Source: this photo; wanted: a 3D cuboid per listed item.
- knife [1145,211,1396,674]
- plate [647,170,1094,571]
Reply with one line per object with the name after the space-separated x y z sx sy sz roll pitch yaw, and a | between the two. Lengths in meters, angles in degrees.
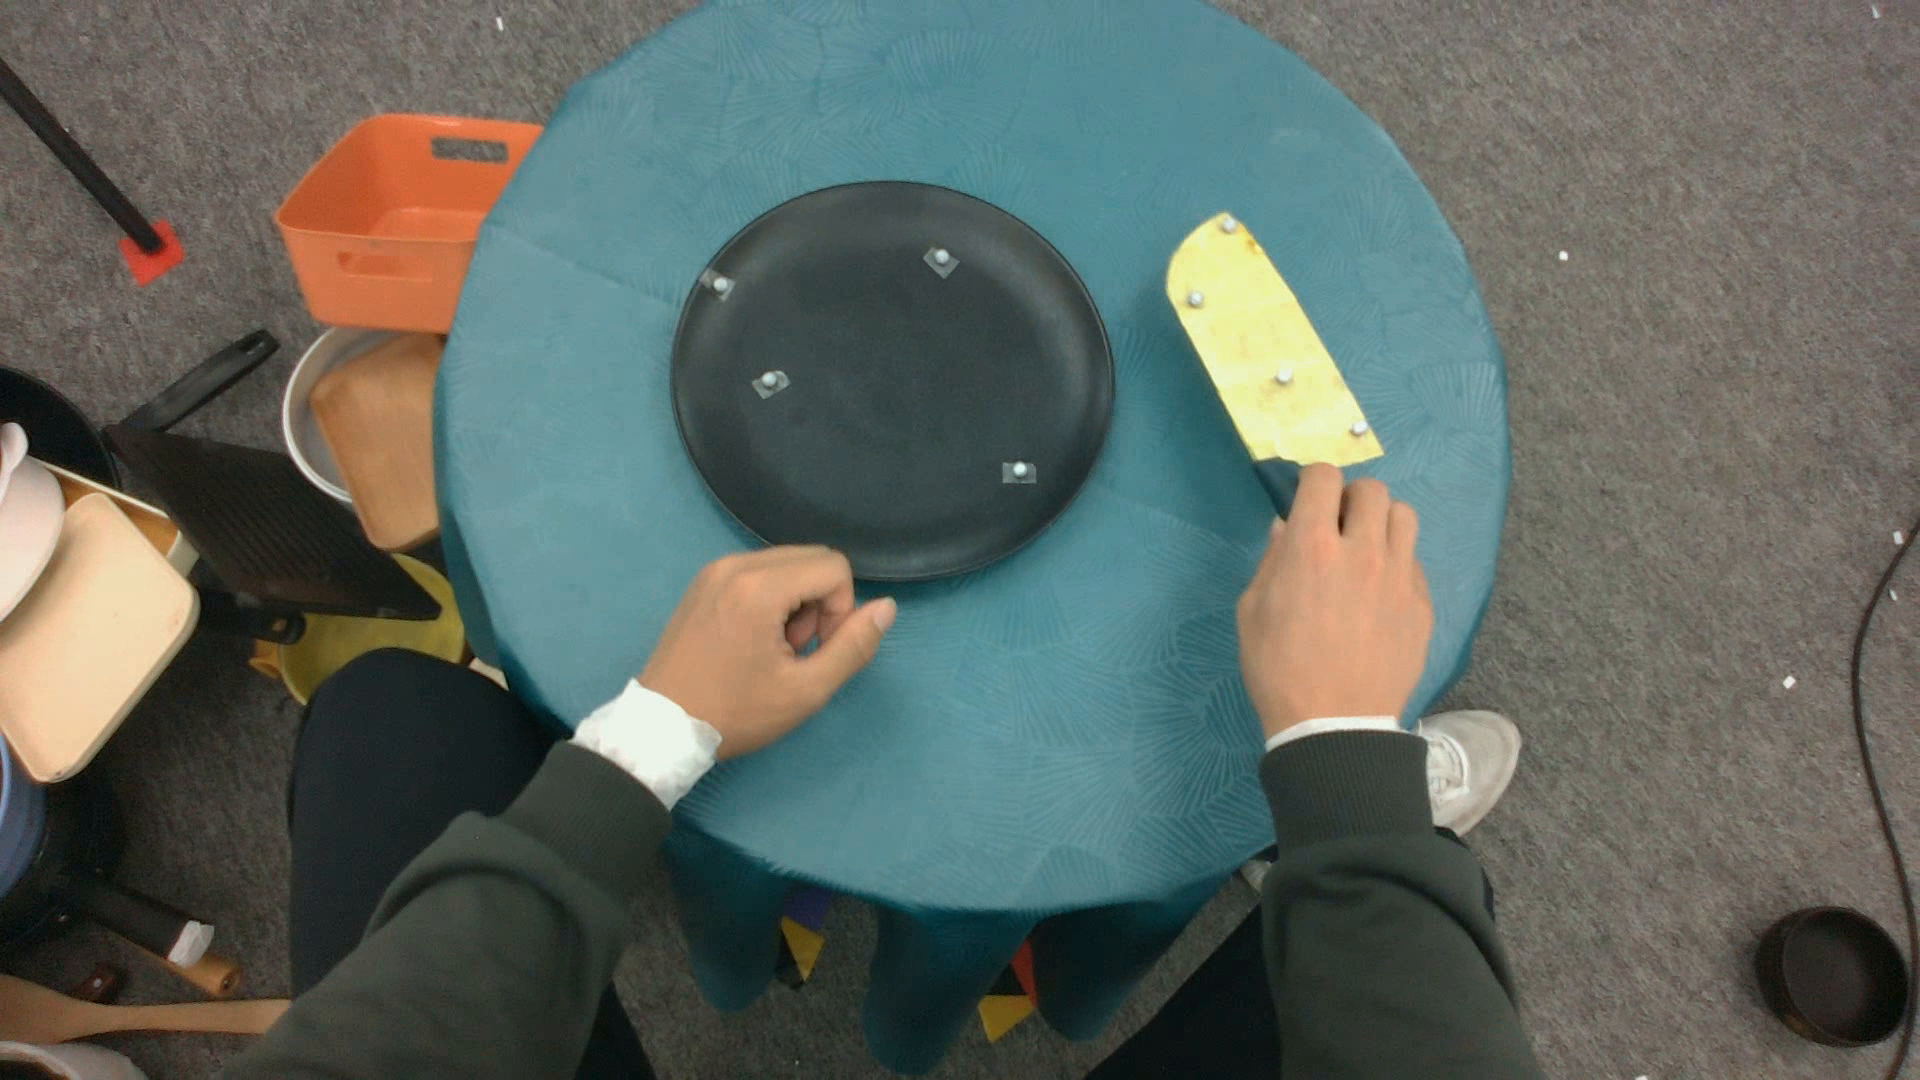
0.171 -0.064 0.731 0.081 0.027 0.290 -12 65 -15 | knife
-0.047 -0.096 0.759 0.244 0.023 0.245 2 69 -5 | plate
